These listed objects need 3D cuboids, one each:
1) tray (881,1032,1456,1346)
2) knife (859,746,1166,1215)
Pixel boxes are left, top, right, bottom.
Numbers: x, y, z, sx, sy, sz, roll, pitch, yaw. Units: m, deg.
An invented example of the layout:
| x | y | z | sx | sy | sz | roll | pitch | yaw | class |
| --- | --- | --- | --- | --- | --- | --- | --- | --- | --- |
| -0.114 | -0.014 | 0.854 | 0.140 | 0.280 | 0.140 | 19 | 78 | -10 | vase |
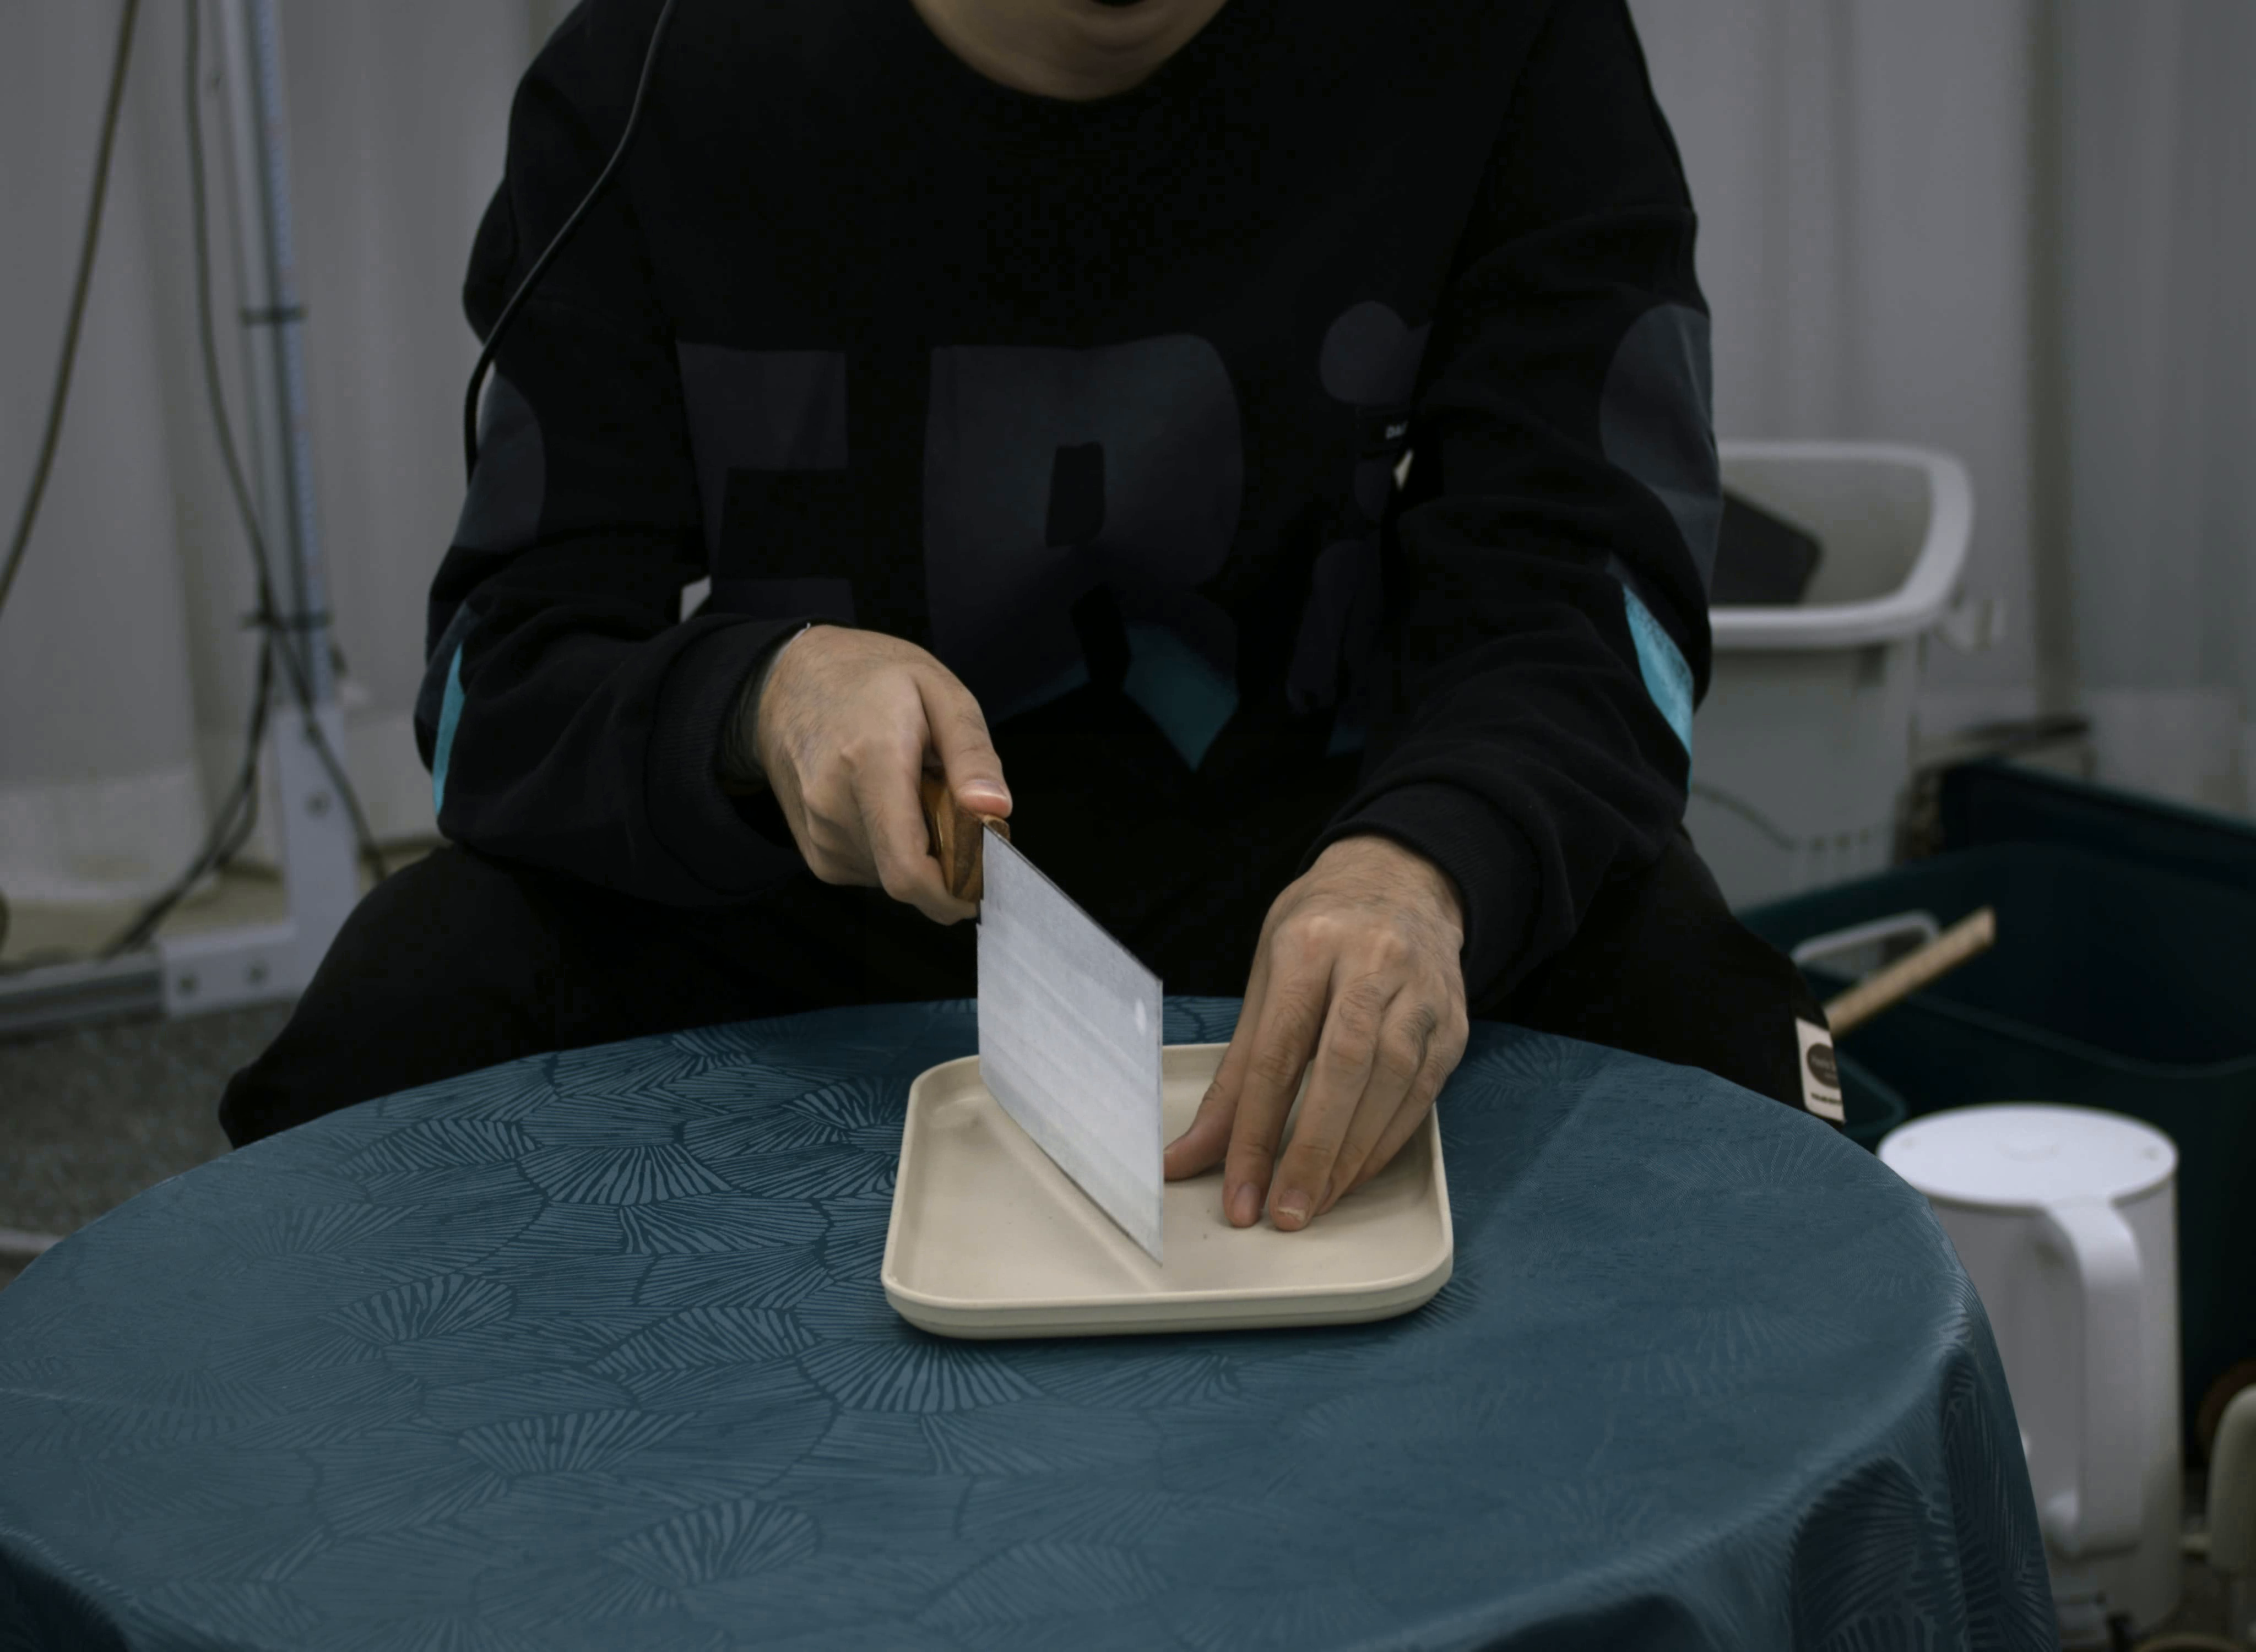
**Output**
| x | y | z | sx | sy | sz | roll | pitch | yaw | class |
| --- | --- | --- | --- | --- | --- | --- | --- | --- | --- |
| 0.013 | 0.111 | 1.689 | 0.171 | 0.017 | 0.241 | -4 | 15 | 3 | tray |
| -0.037 | 0.048 | 1.733 | 0.021 | 0.092 | 0.308 | -5 | 16 | -17 | knife |
